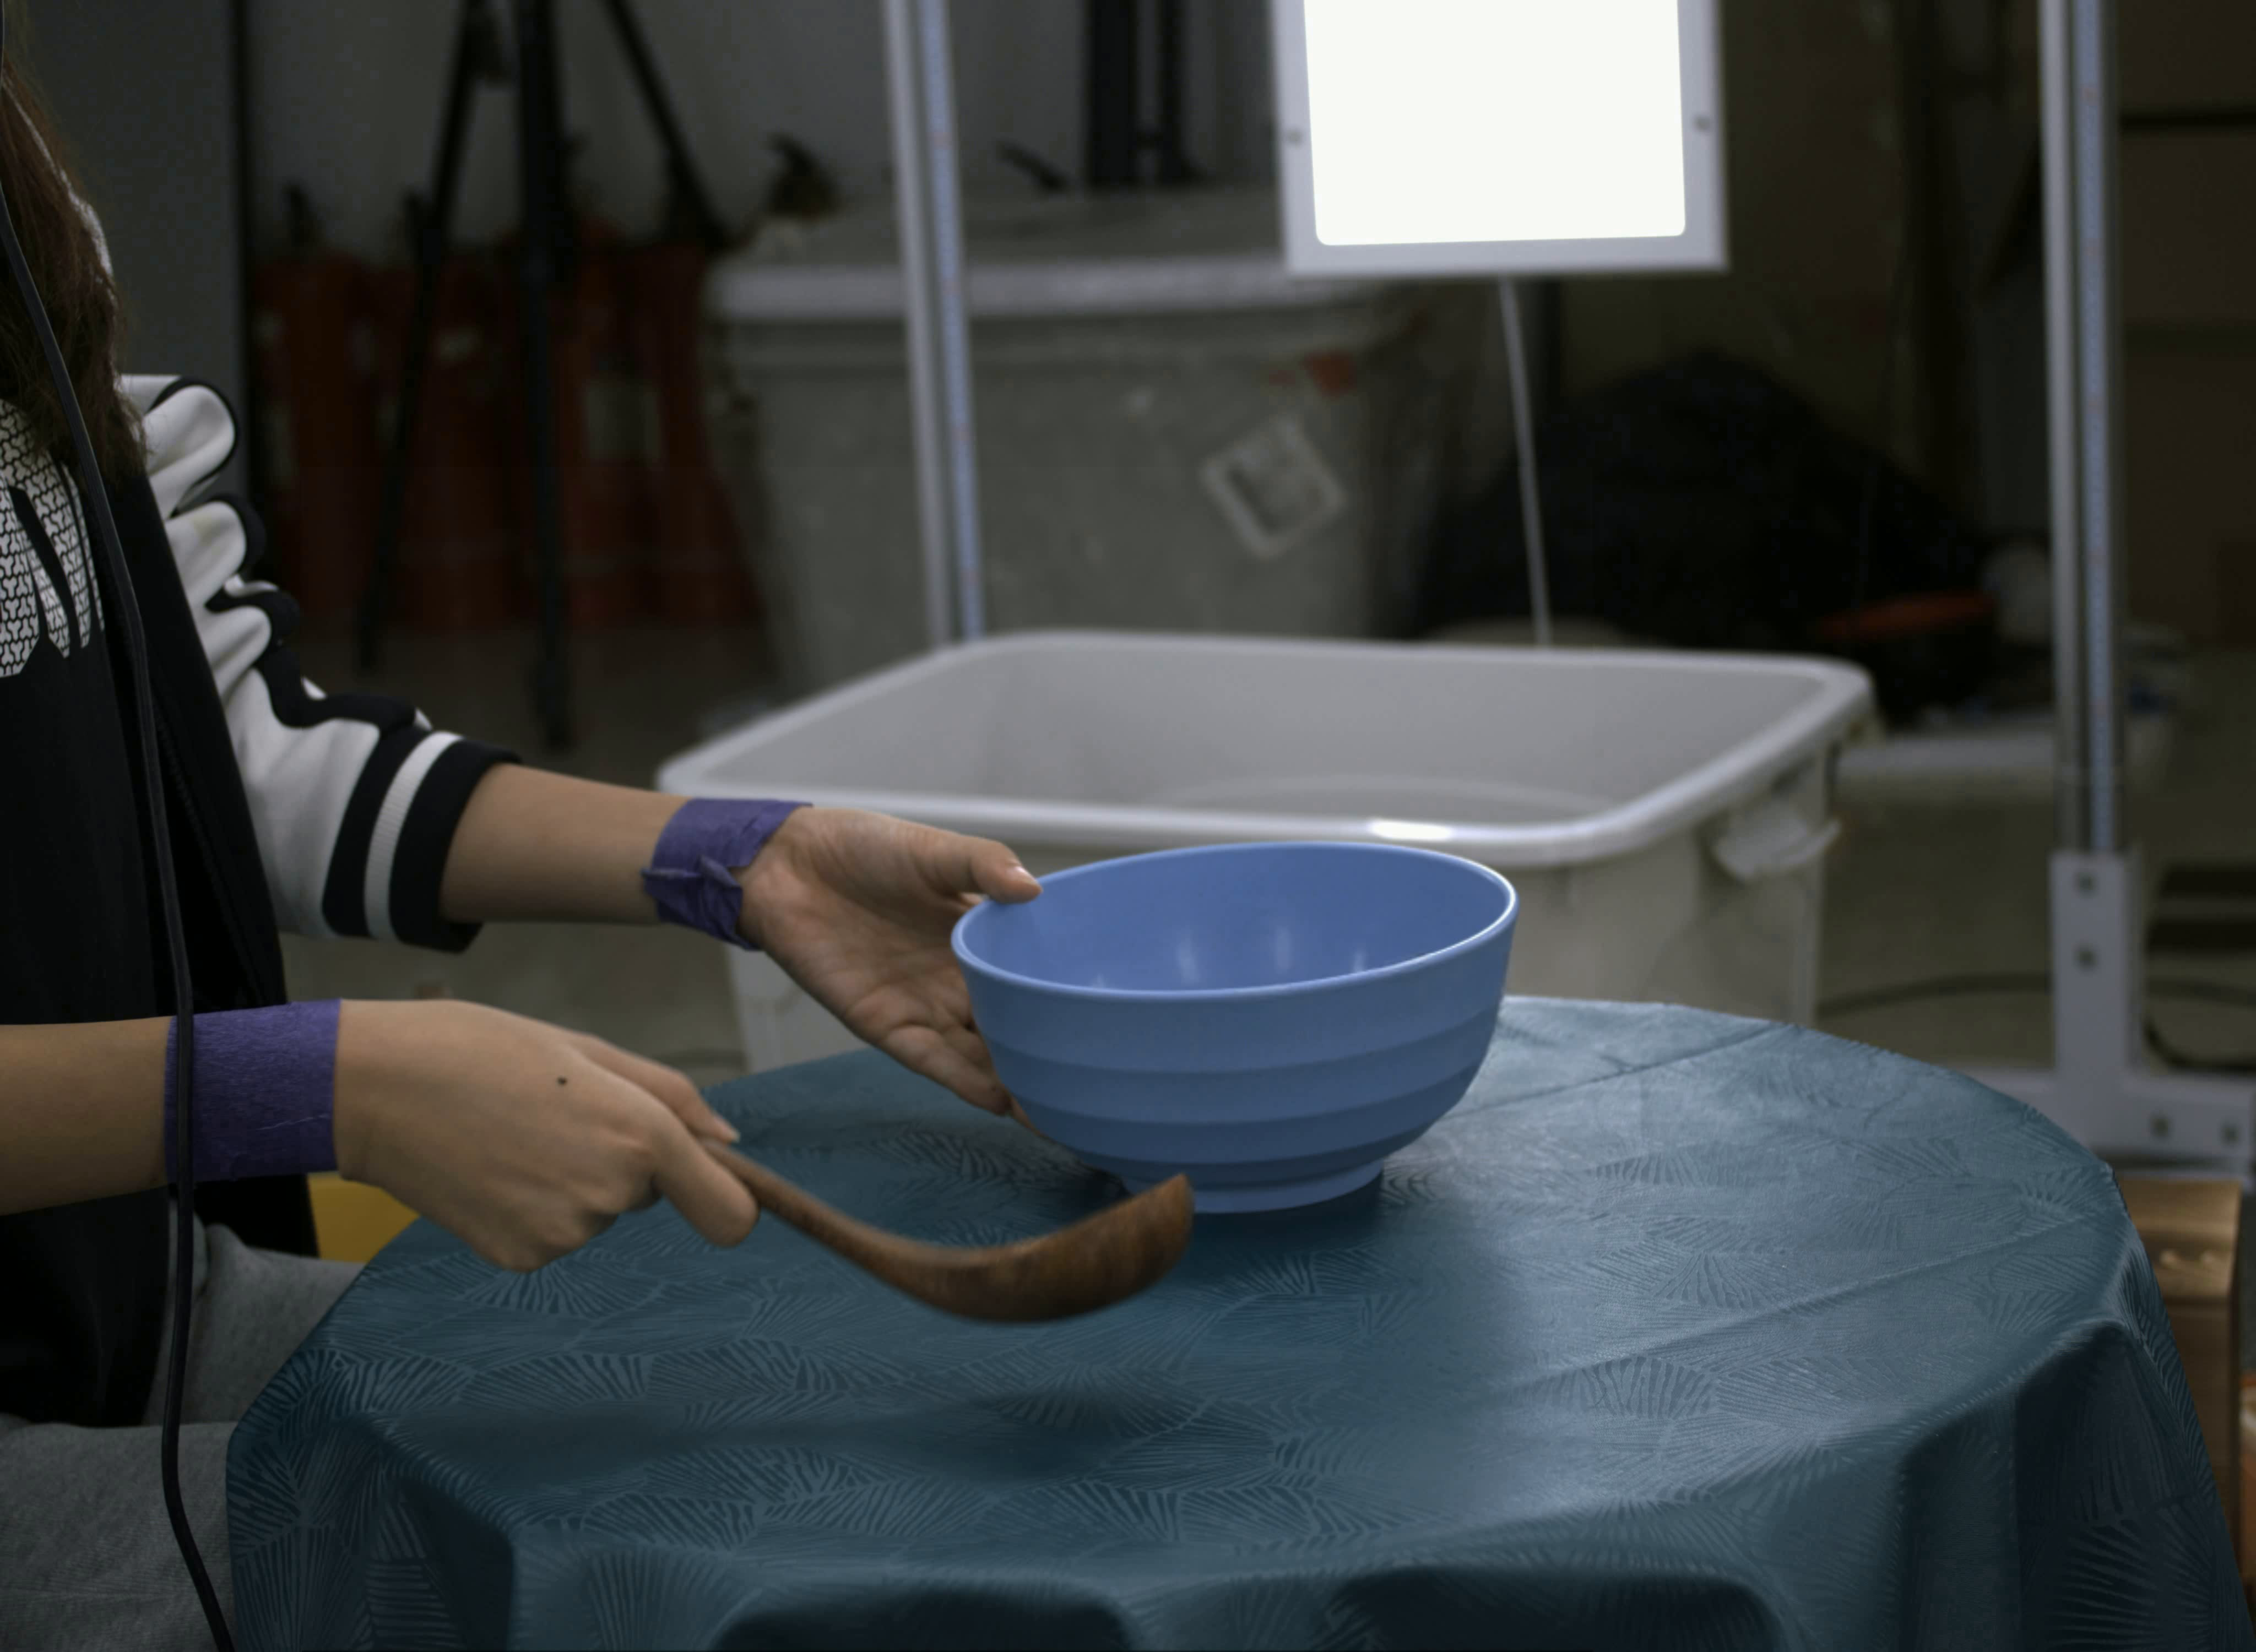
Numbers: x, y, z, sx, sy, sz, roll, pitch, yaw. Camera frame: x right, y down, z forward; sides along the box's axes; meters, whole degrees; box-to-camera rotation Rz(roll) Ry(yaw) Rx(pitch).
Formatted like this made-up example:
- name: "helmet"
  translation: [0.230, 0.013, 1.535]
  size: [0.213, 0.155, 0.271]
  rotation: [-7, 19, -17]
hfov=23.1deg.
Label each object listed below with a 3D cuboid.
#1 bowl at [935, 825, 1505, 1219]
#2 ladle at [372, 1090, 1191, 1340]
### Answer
- name: "bowl"
  translation: [0.033, 0.074, 1.901]
  size: [0.196, 0.096, 0.196]
  rotation: [-3, 19, 0]
- name: "ladle"
  translation: [-0.107, 0.103, 1.694]
  size: [0.262, 0.065, 0.075]
  rotation: [18, 2, 14]
